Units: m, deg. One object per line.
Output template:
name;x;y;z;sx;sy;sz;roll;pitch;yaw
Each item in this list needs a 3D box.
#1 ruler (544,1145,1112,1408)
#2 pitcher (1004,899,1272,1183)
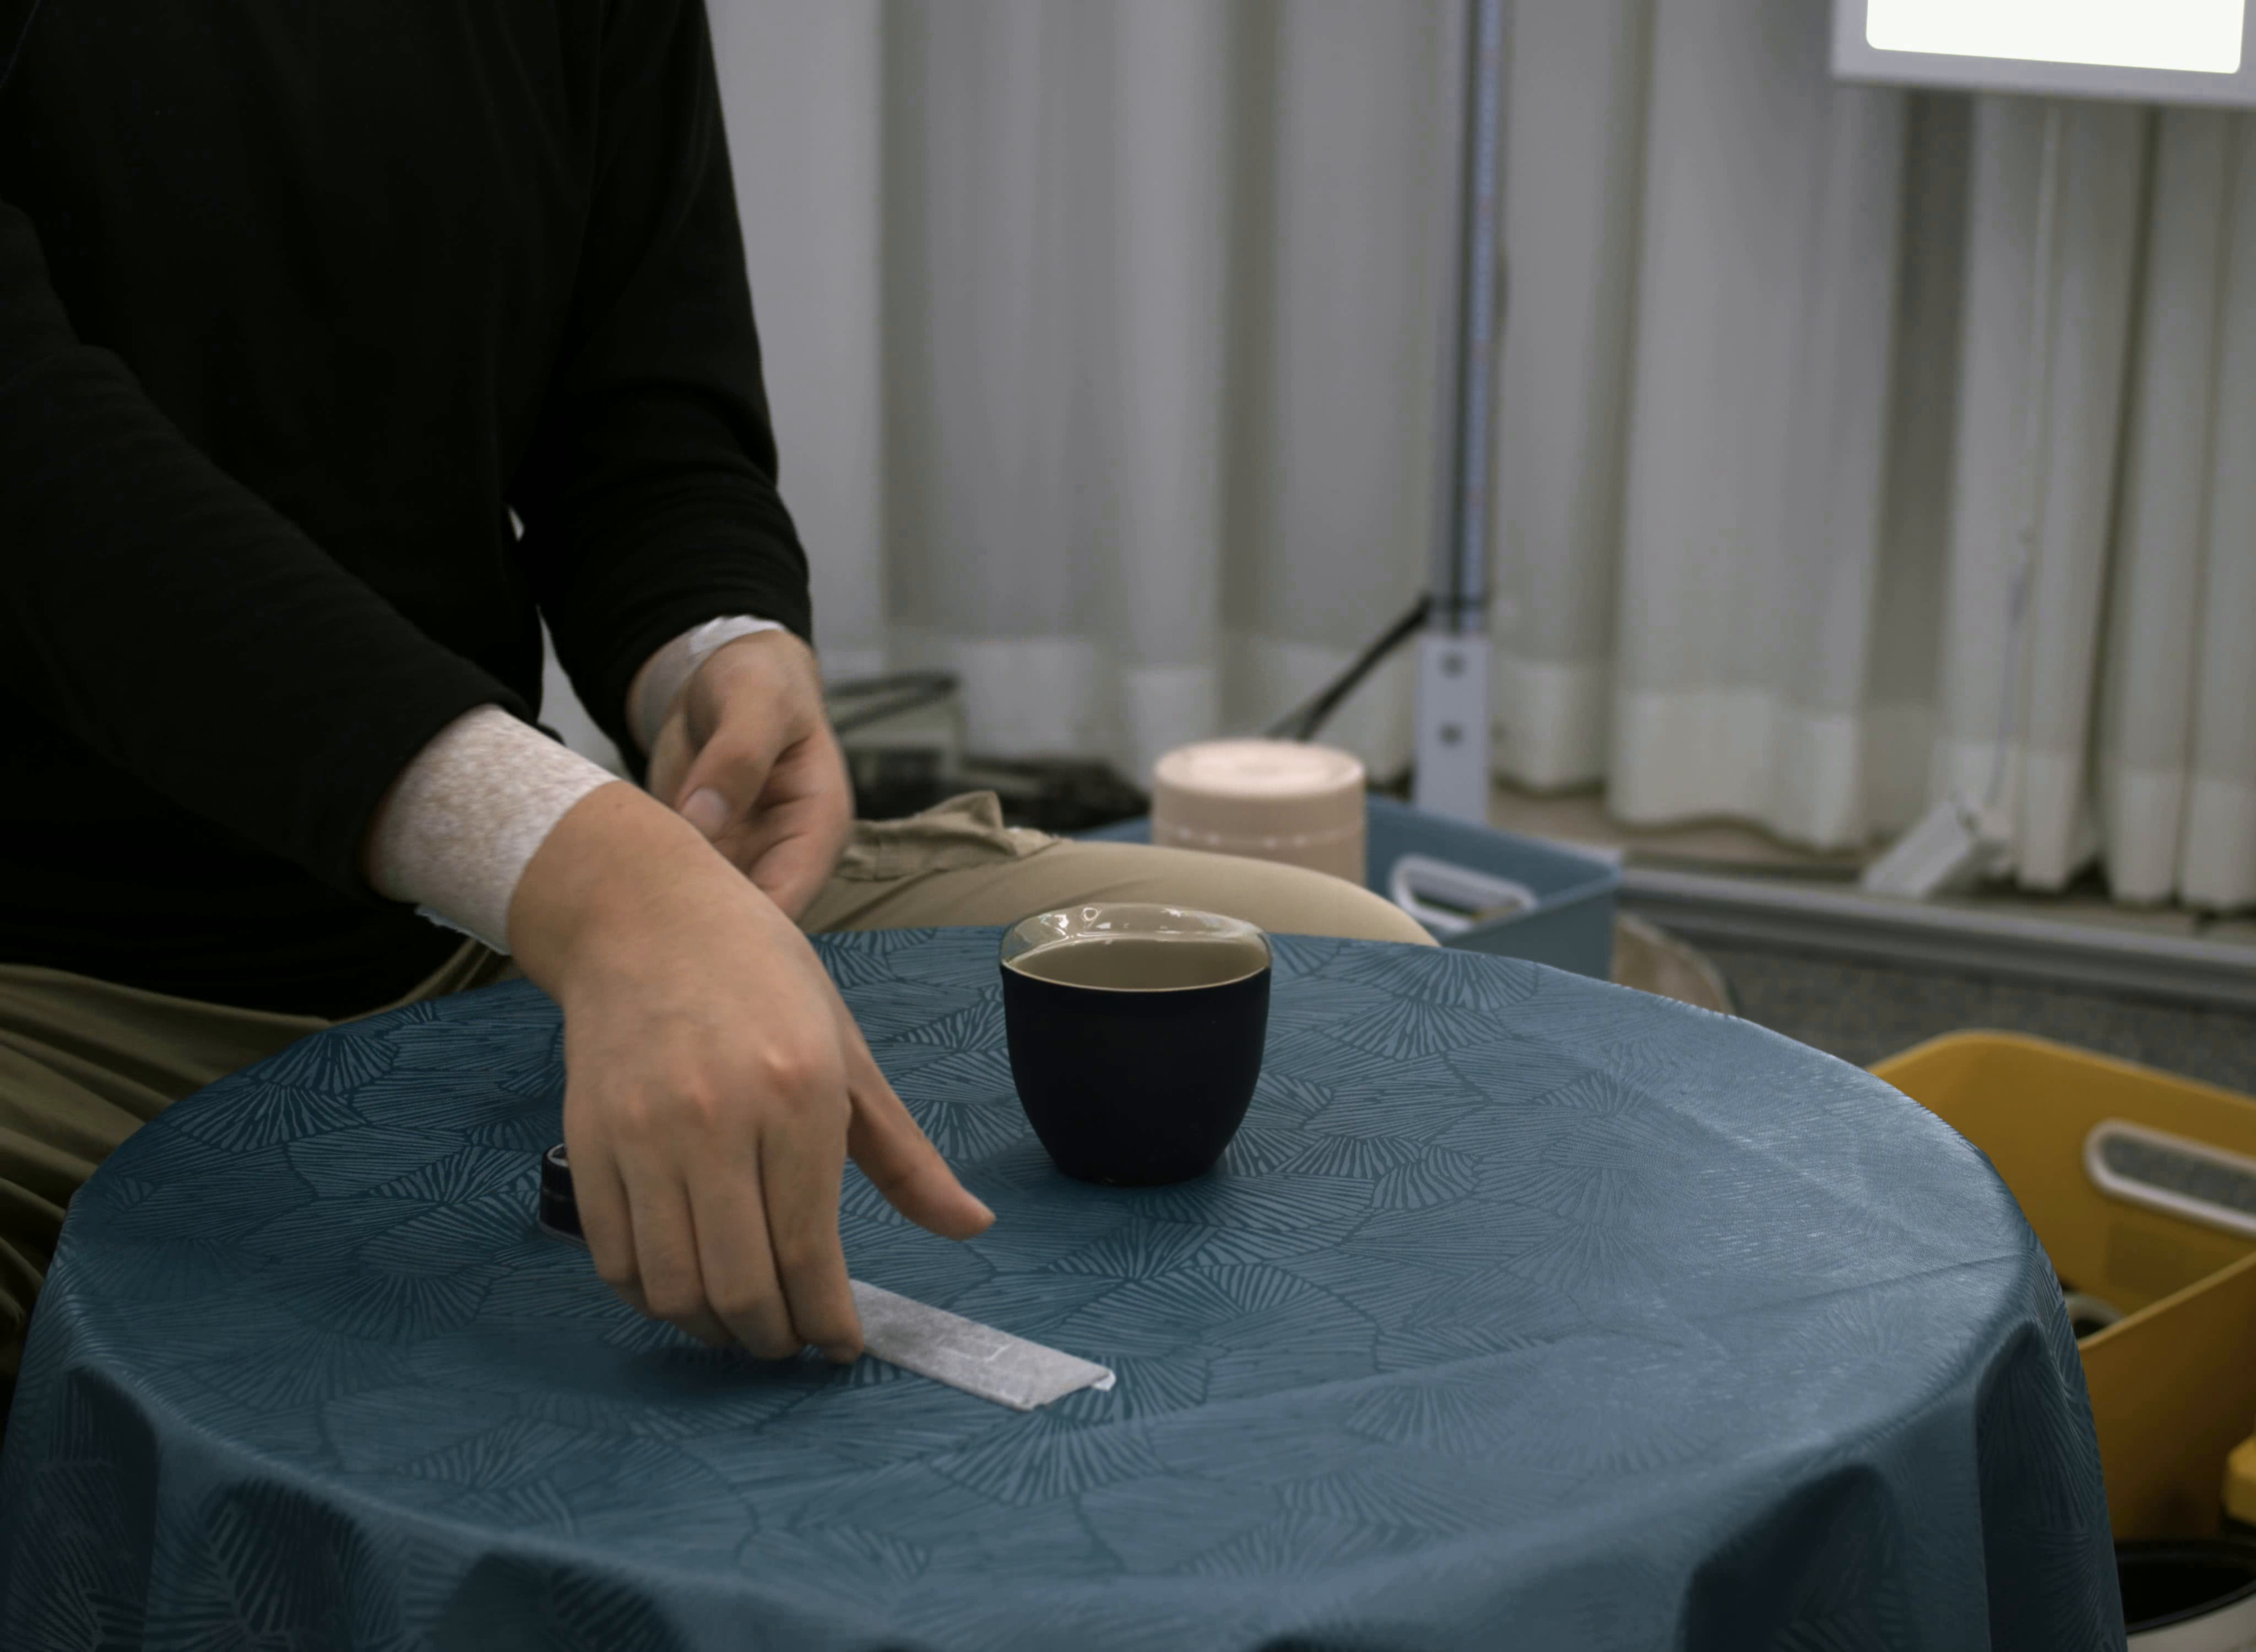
ruler;-0.094;0.127;1.522;0.215;0.024;0.038;13;28;43
pitcher;0.000;0.068;1.642;0.084;0.072;0.095;-9;19;-28
